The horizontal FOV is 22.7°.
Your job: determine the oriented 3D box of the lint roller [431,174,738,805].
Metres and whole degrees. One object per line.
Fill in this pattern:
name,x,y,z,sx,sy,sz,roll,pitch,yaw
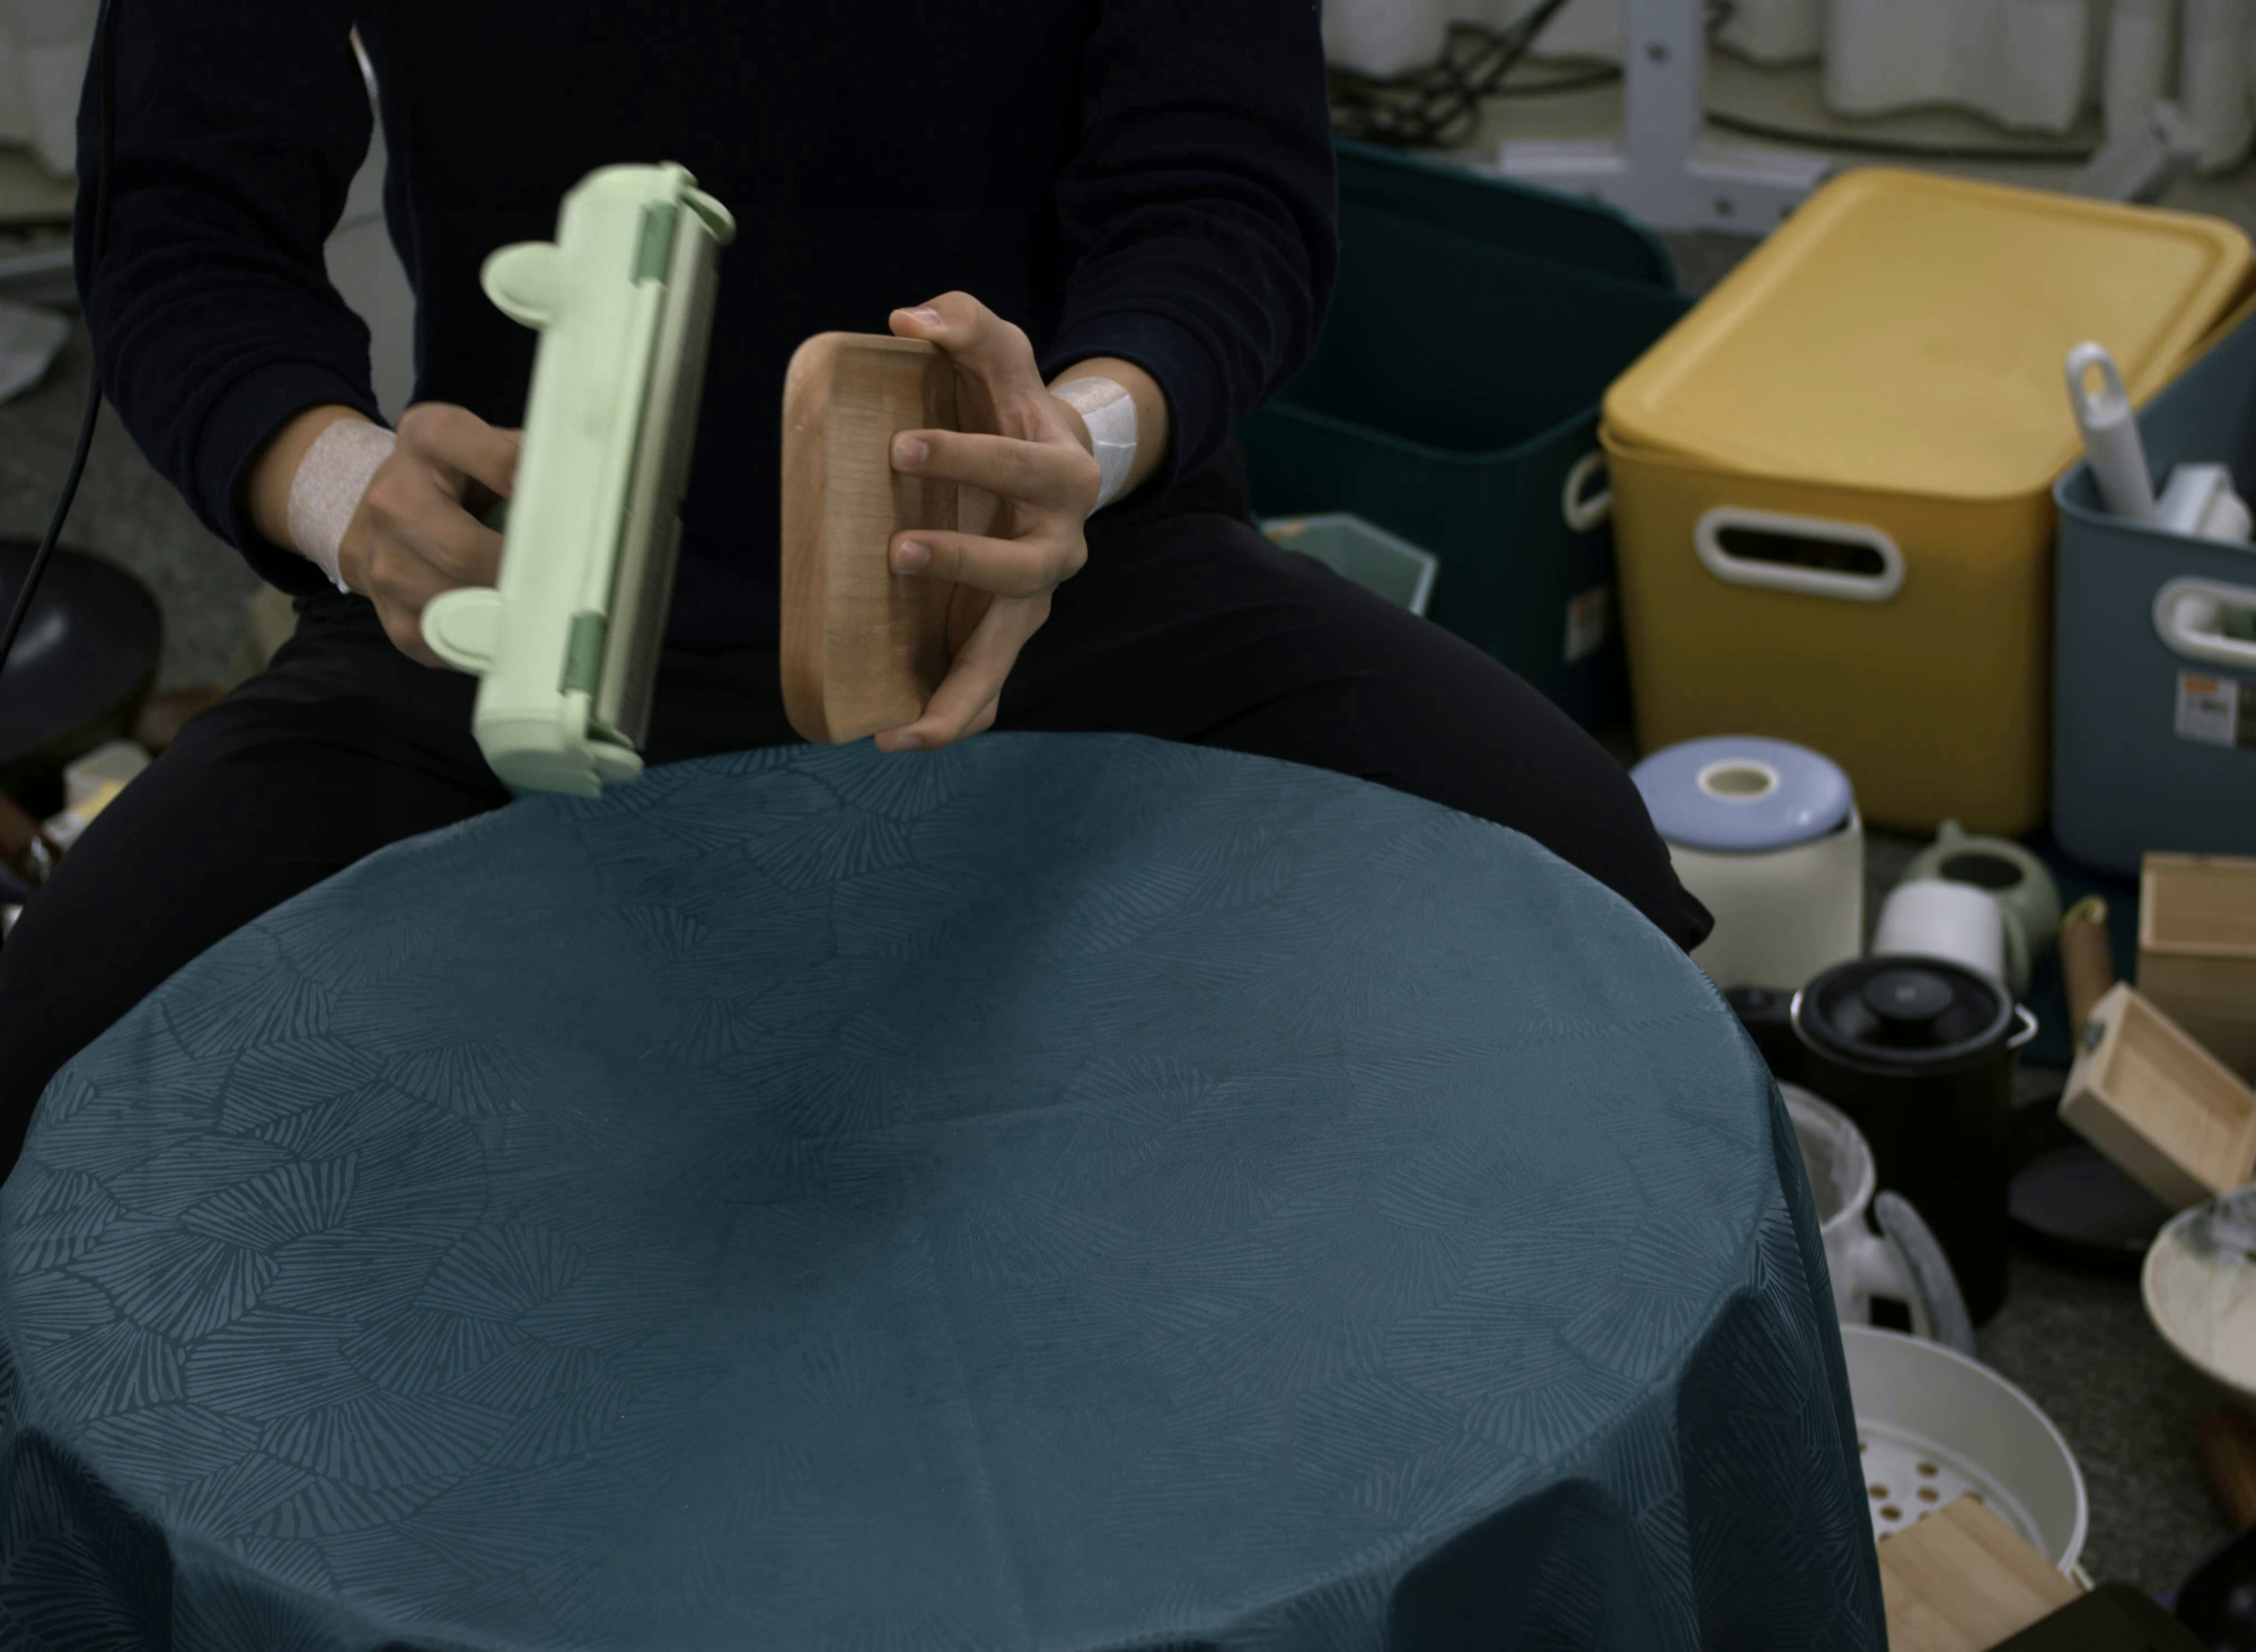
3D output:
lint roller,-0.199,-0.099,1.815,0.082,0.201,0.181,20,-22,-31

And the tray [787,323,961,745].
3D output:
tray,-0.080,-0.096,1.812,0.023,0.131,0.251,4,3,6
